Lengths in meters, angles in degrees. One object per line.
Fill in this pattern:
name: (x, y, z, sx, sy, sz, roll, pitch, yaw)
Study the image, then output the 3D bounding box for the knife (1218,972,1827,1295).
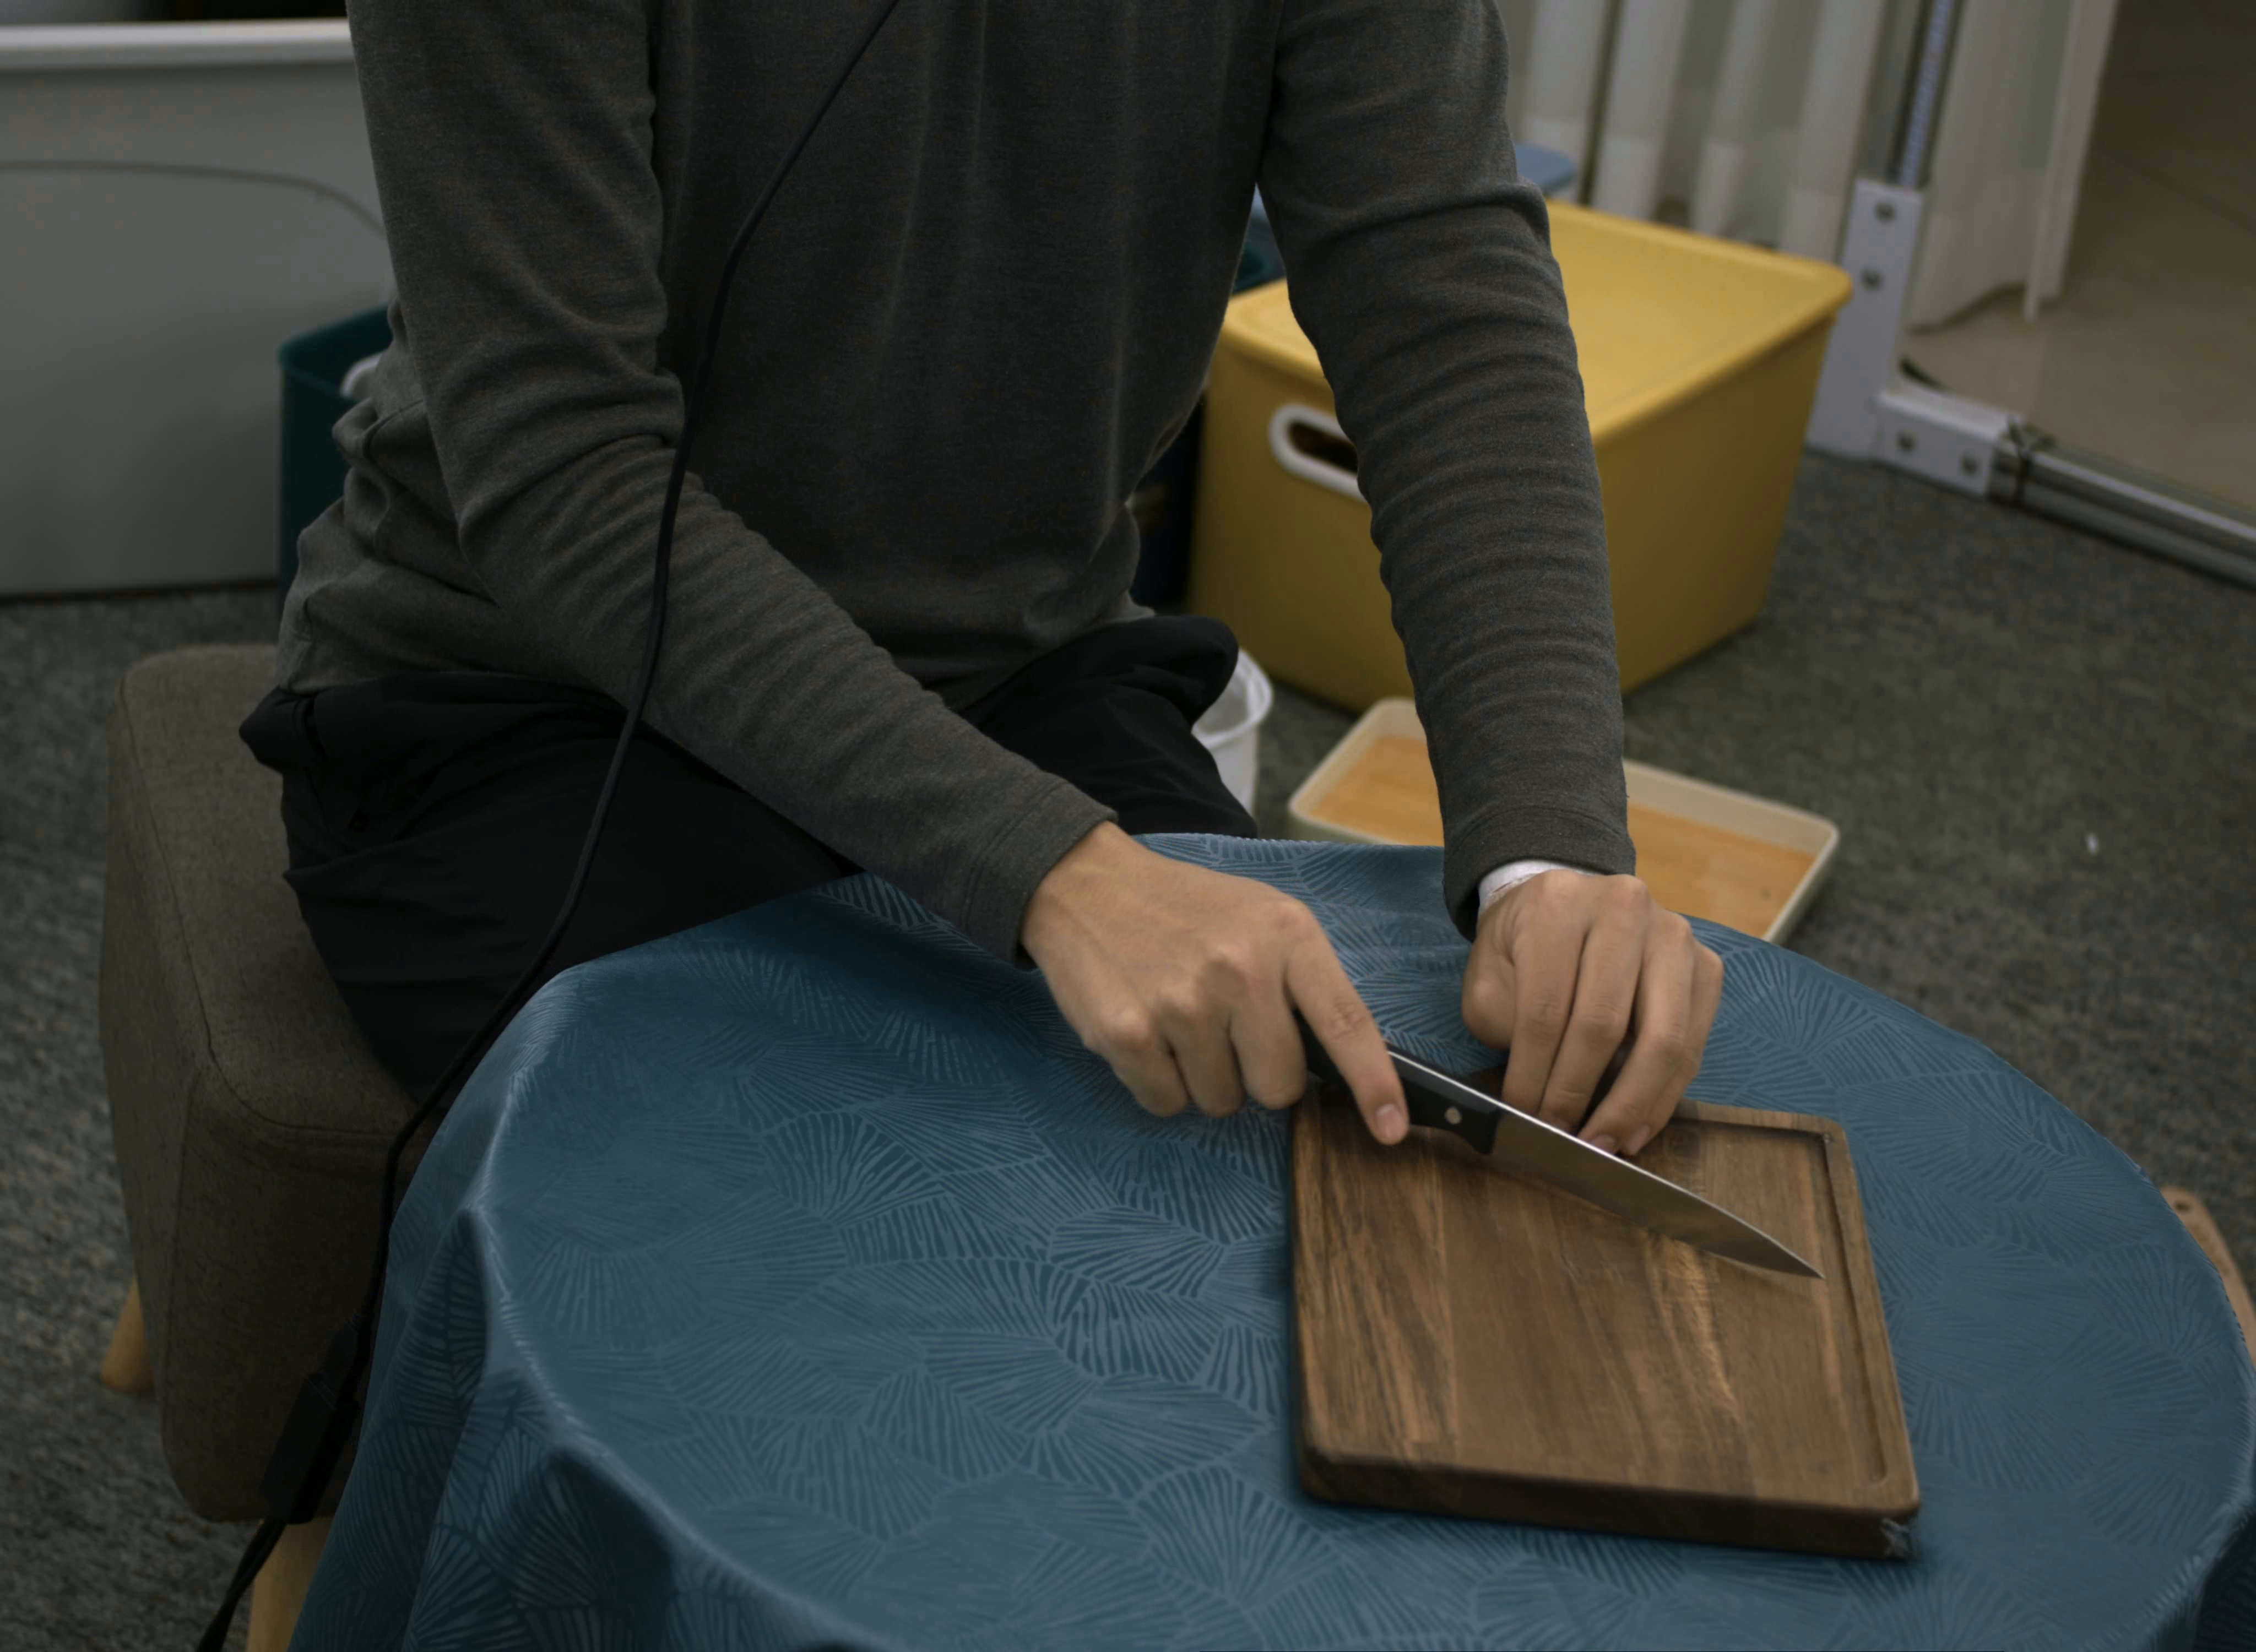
knife: (0.133, 0.103, 1.803, 0.239, 0.024, 0.016, 26, 30, 23)

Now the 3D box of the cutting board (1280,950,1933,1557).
cutting board: (0.152, 0.133, 1.800, 0.200, 0.023, 0.354, 6, 26, -2)
